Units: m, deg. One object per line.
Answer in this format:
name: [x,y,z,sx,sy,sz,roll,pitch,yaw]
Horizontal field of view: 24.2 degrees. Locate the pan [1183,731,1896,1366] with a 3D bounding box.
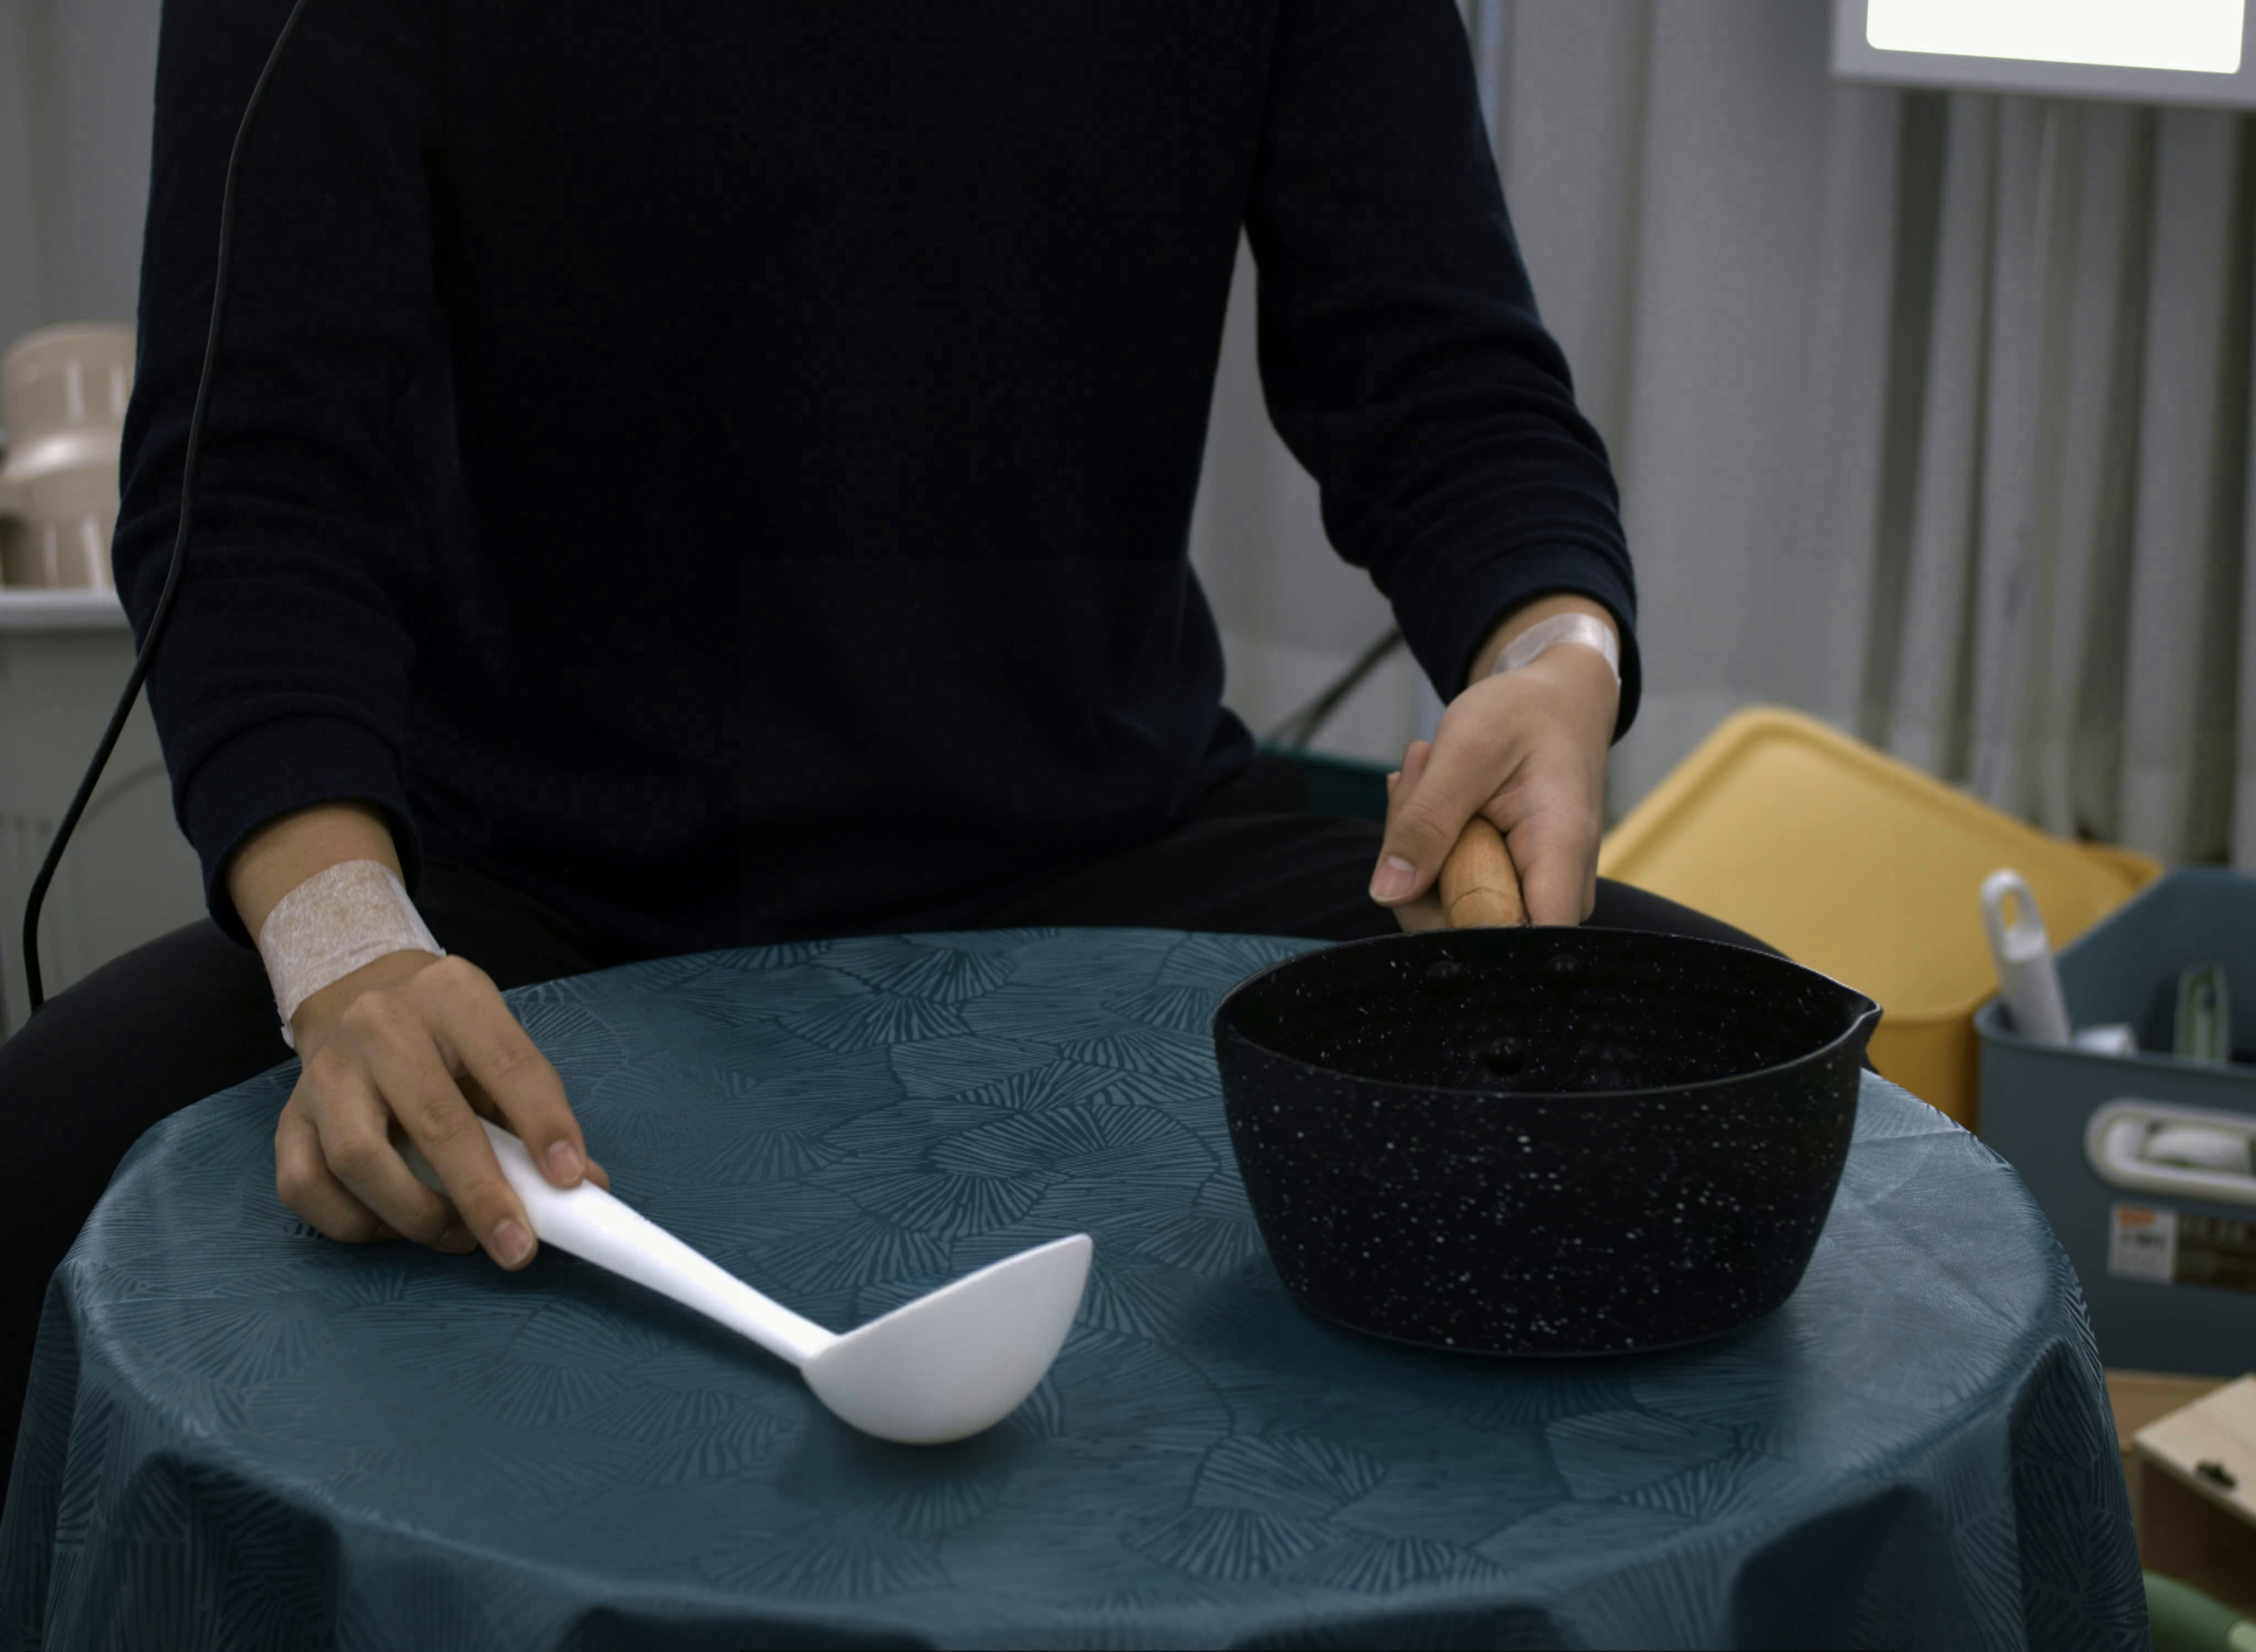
pan: [0.114,0.062,1.606,0.207,0.109,0.340,-2,15,-4]

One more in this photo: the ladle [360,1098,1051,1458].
ladle: [-0.130,0.113,1.488,0.090,0.071,0.289,-28,31,-32]
